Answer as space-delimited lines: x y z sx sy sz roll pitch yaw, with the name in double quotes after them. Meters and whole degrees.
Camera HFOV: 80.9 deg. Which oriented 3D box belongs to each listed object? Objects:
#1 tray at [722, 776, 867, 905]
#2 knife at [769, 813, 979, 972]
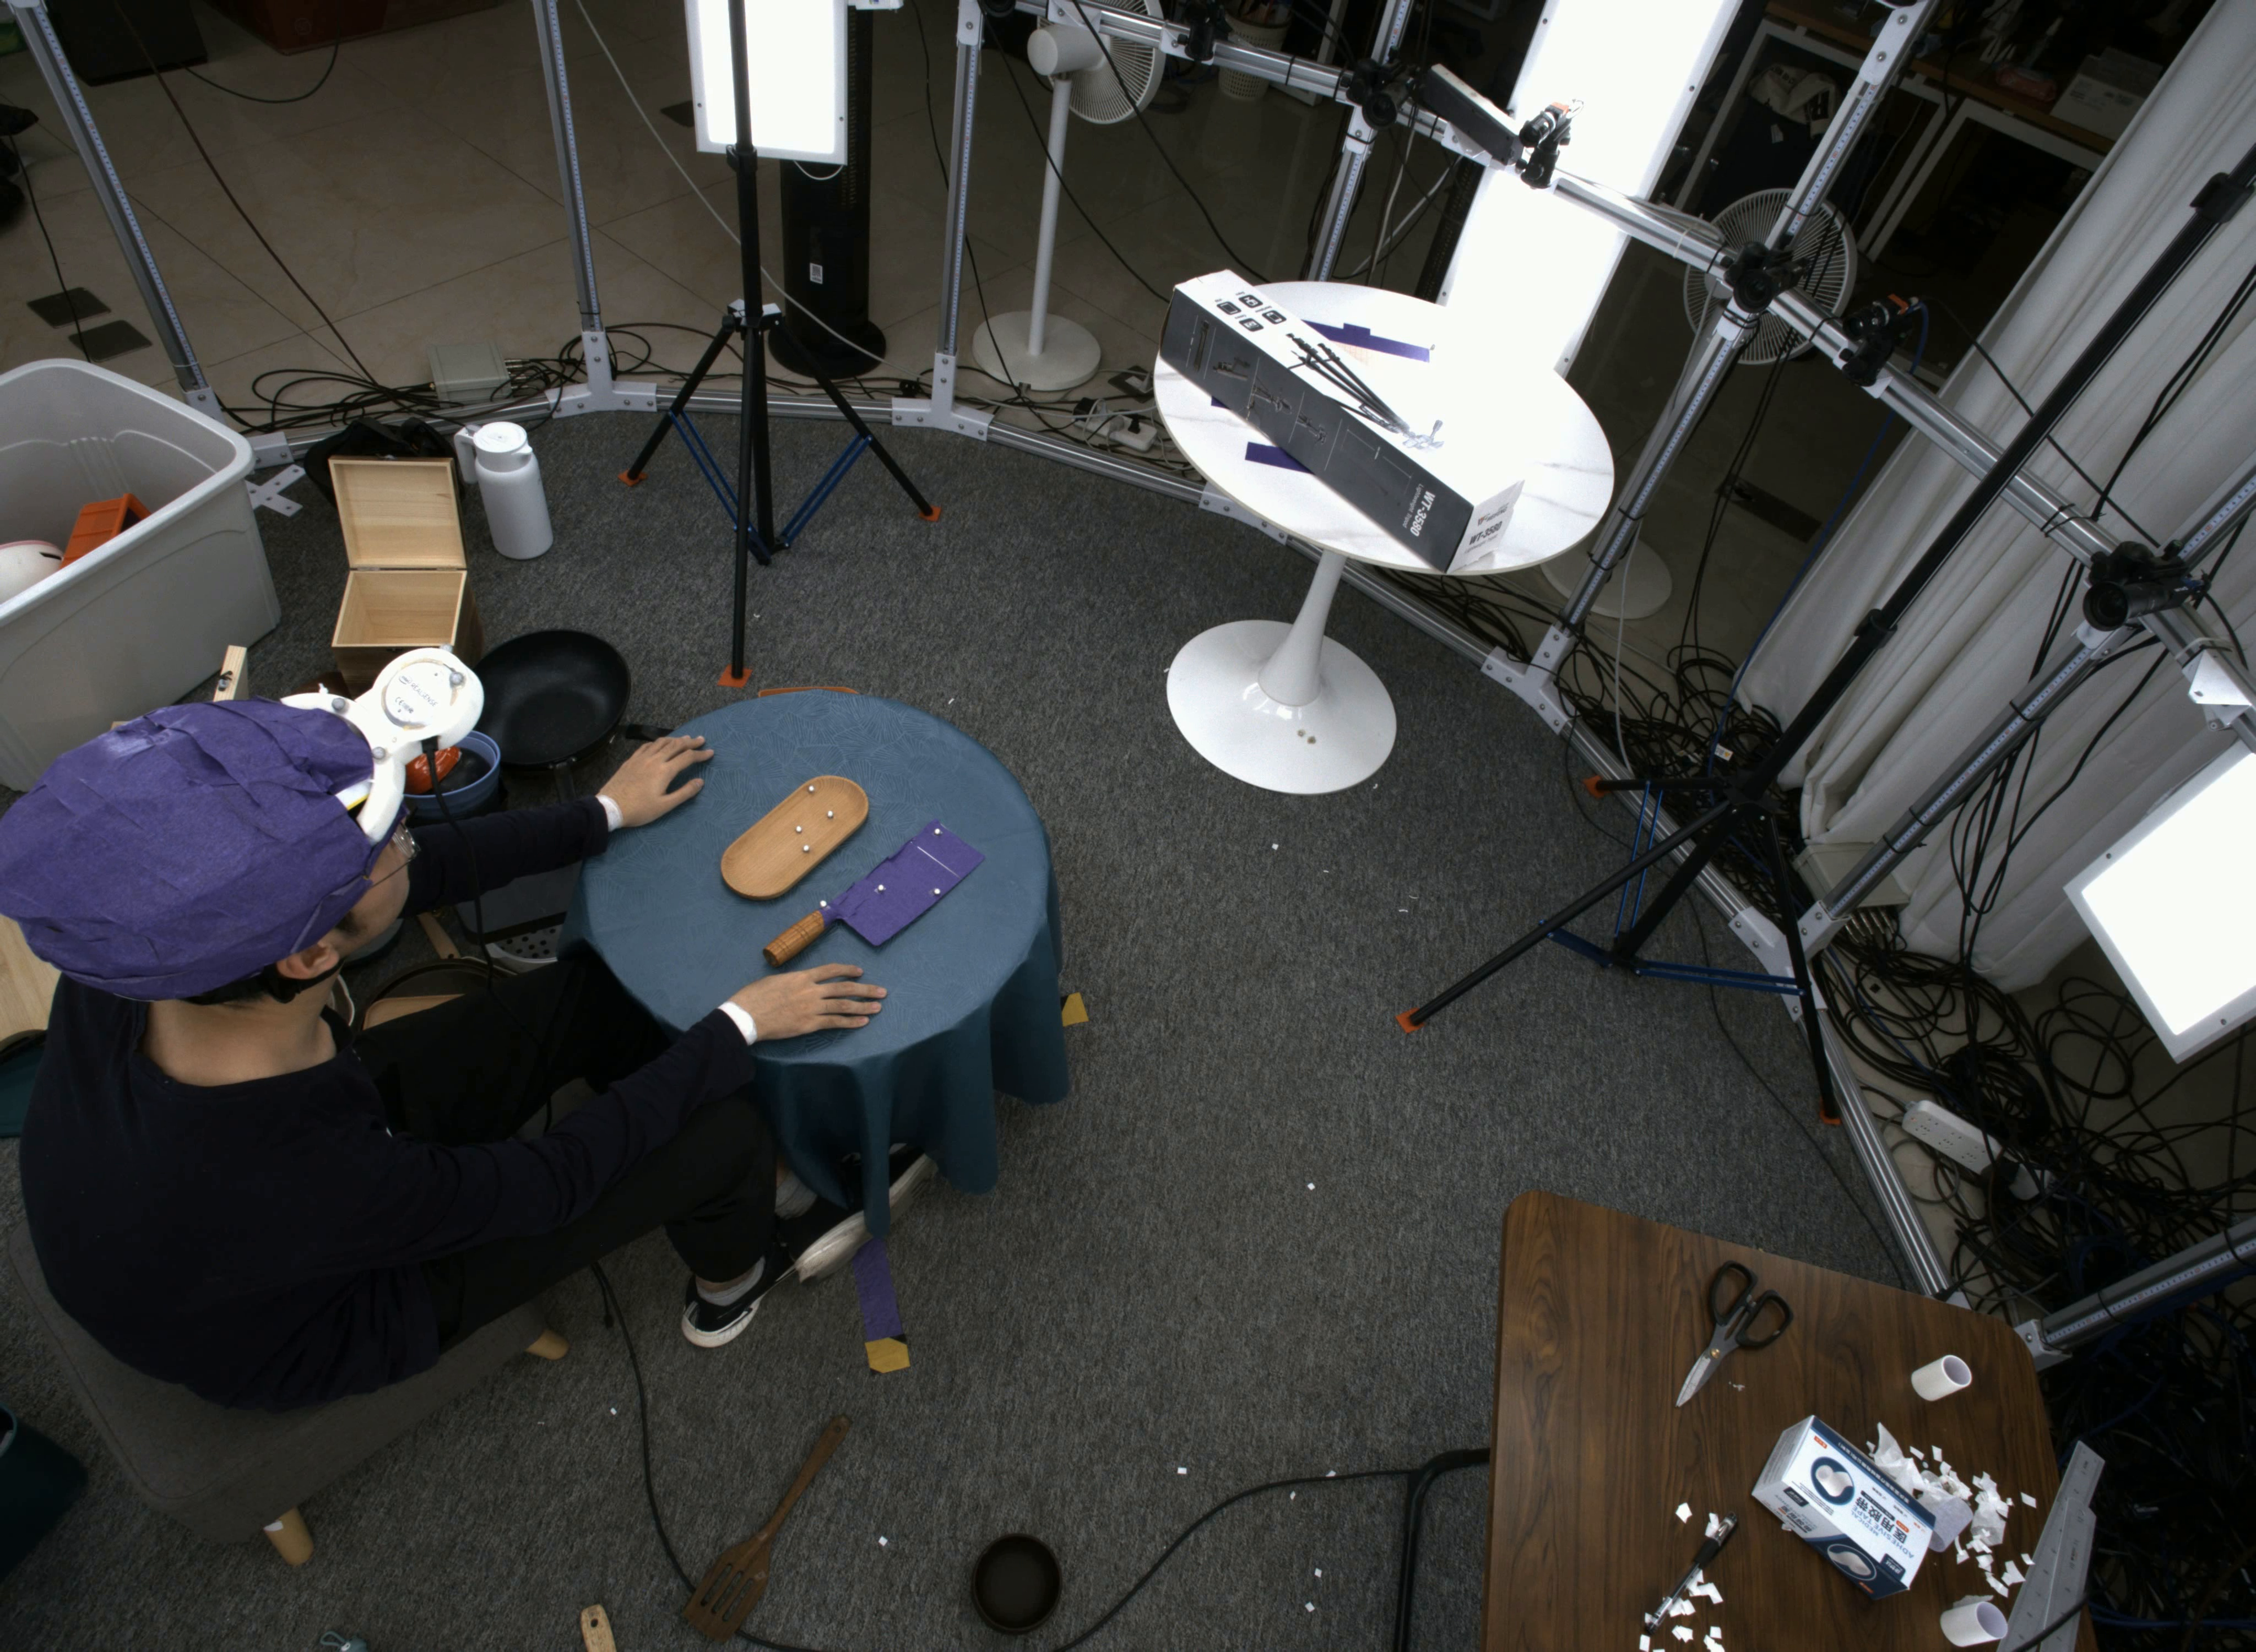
-0.438 0.016 1.709 0.100 0.021 0.230 32 55 11 "tray"
-0.318 0.094 1.675 0.102 0.033 0.315 36 53 13 "knife"
